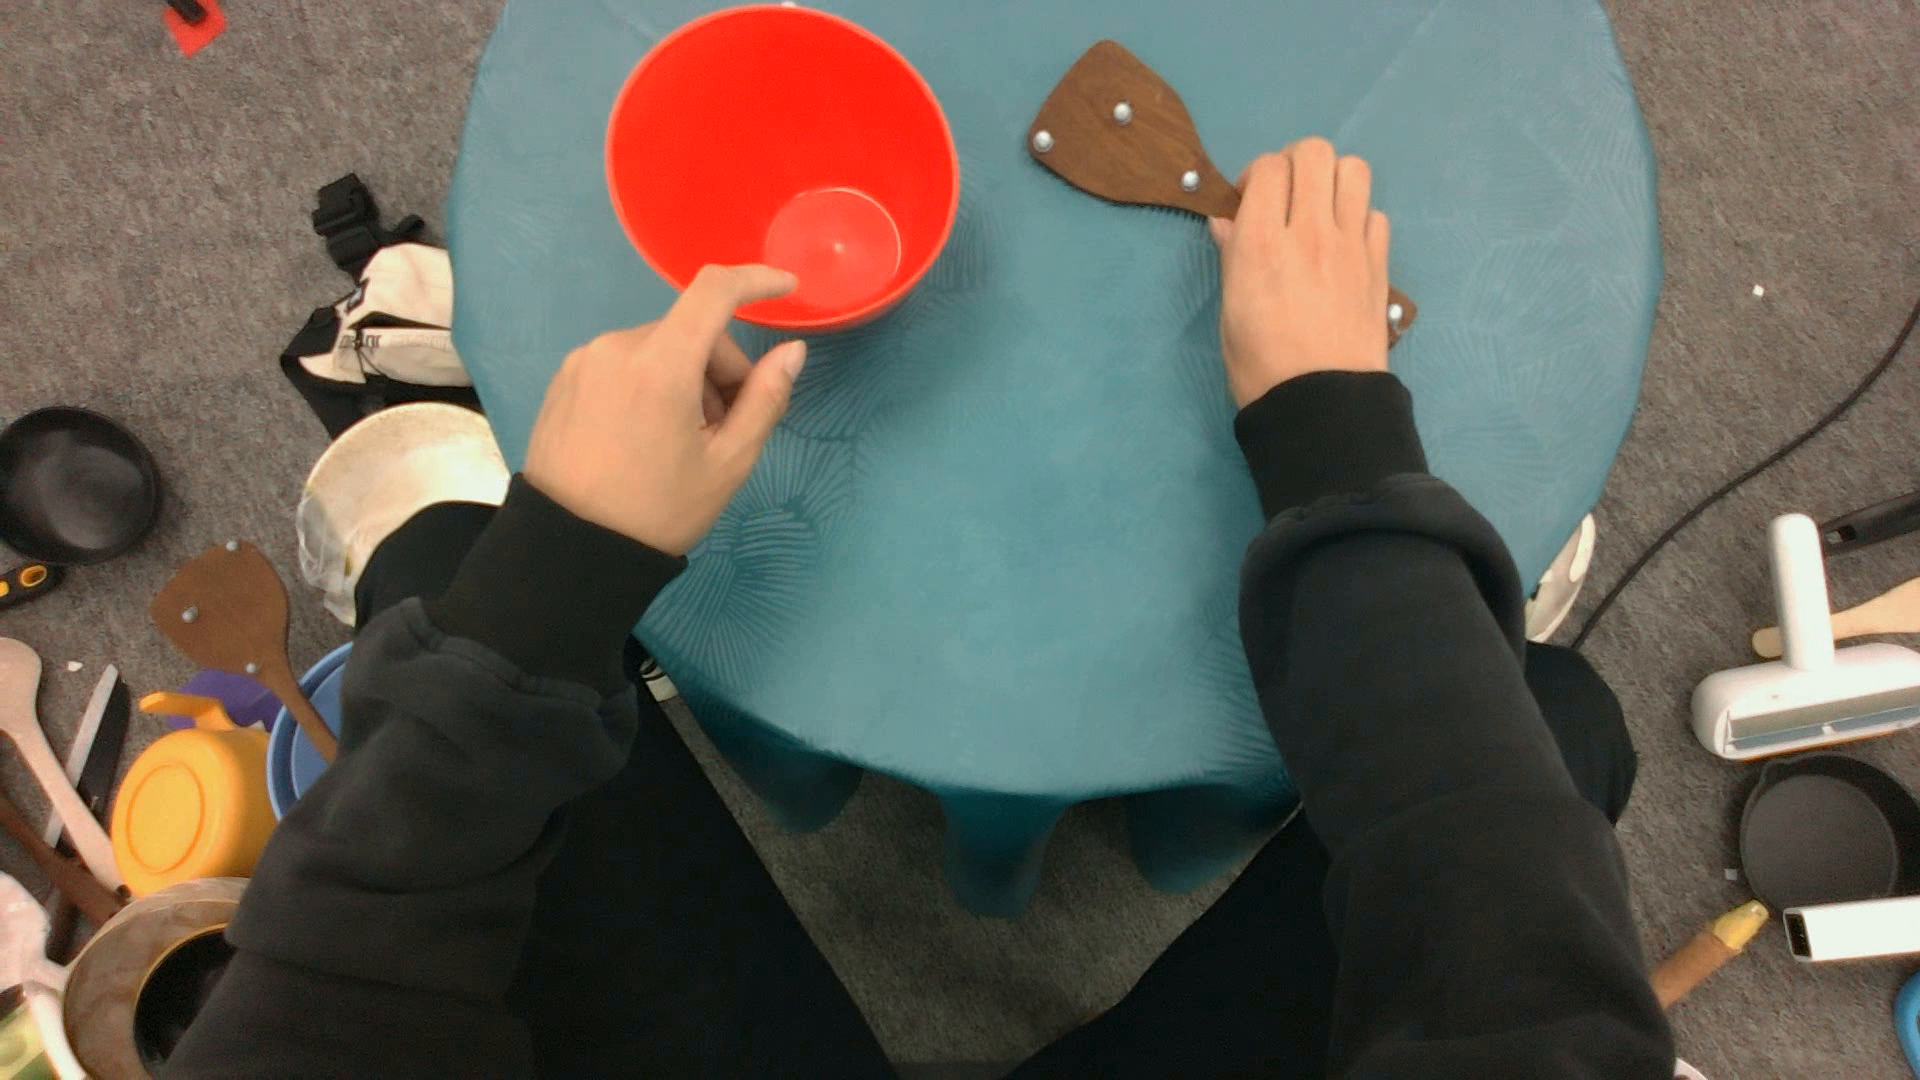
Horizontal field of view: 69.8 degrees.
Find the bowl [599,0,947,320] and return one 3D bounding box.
[{"bbox_3d":[-0.079,-0.159,0.634,0.148,0.104,0.148,0,77,0],"label":"bowl"}]

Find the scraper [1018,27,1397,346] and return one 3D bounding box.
[{"bbox_3d":[0.126,-0.168,0.681,0.211,0.011,0.076,40,87,7],"label":"scraper"}]
